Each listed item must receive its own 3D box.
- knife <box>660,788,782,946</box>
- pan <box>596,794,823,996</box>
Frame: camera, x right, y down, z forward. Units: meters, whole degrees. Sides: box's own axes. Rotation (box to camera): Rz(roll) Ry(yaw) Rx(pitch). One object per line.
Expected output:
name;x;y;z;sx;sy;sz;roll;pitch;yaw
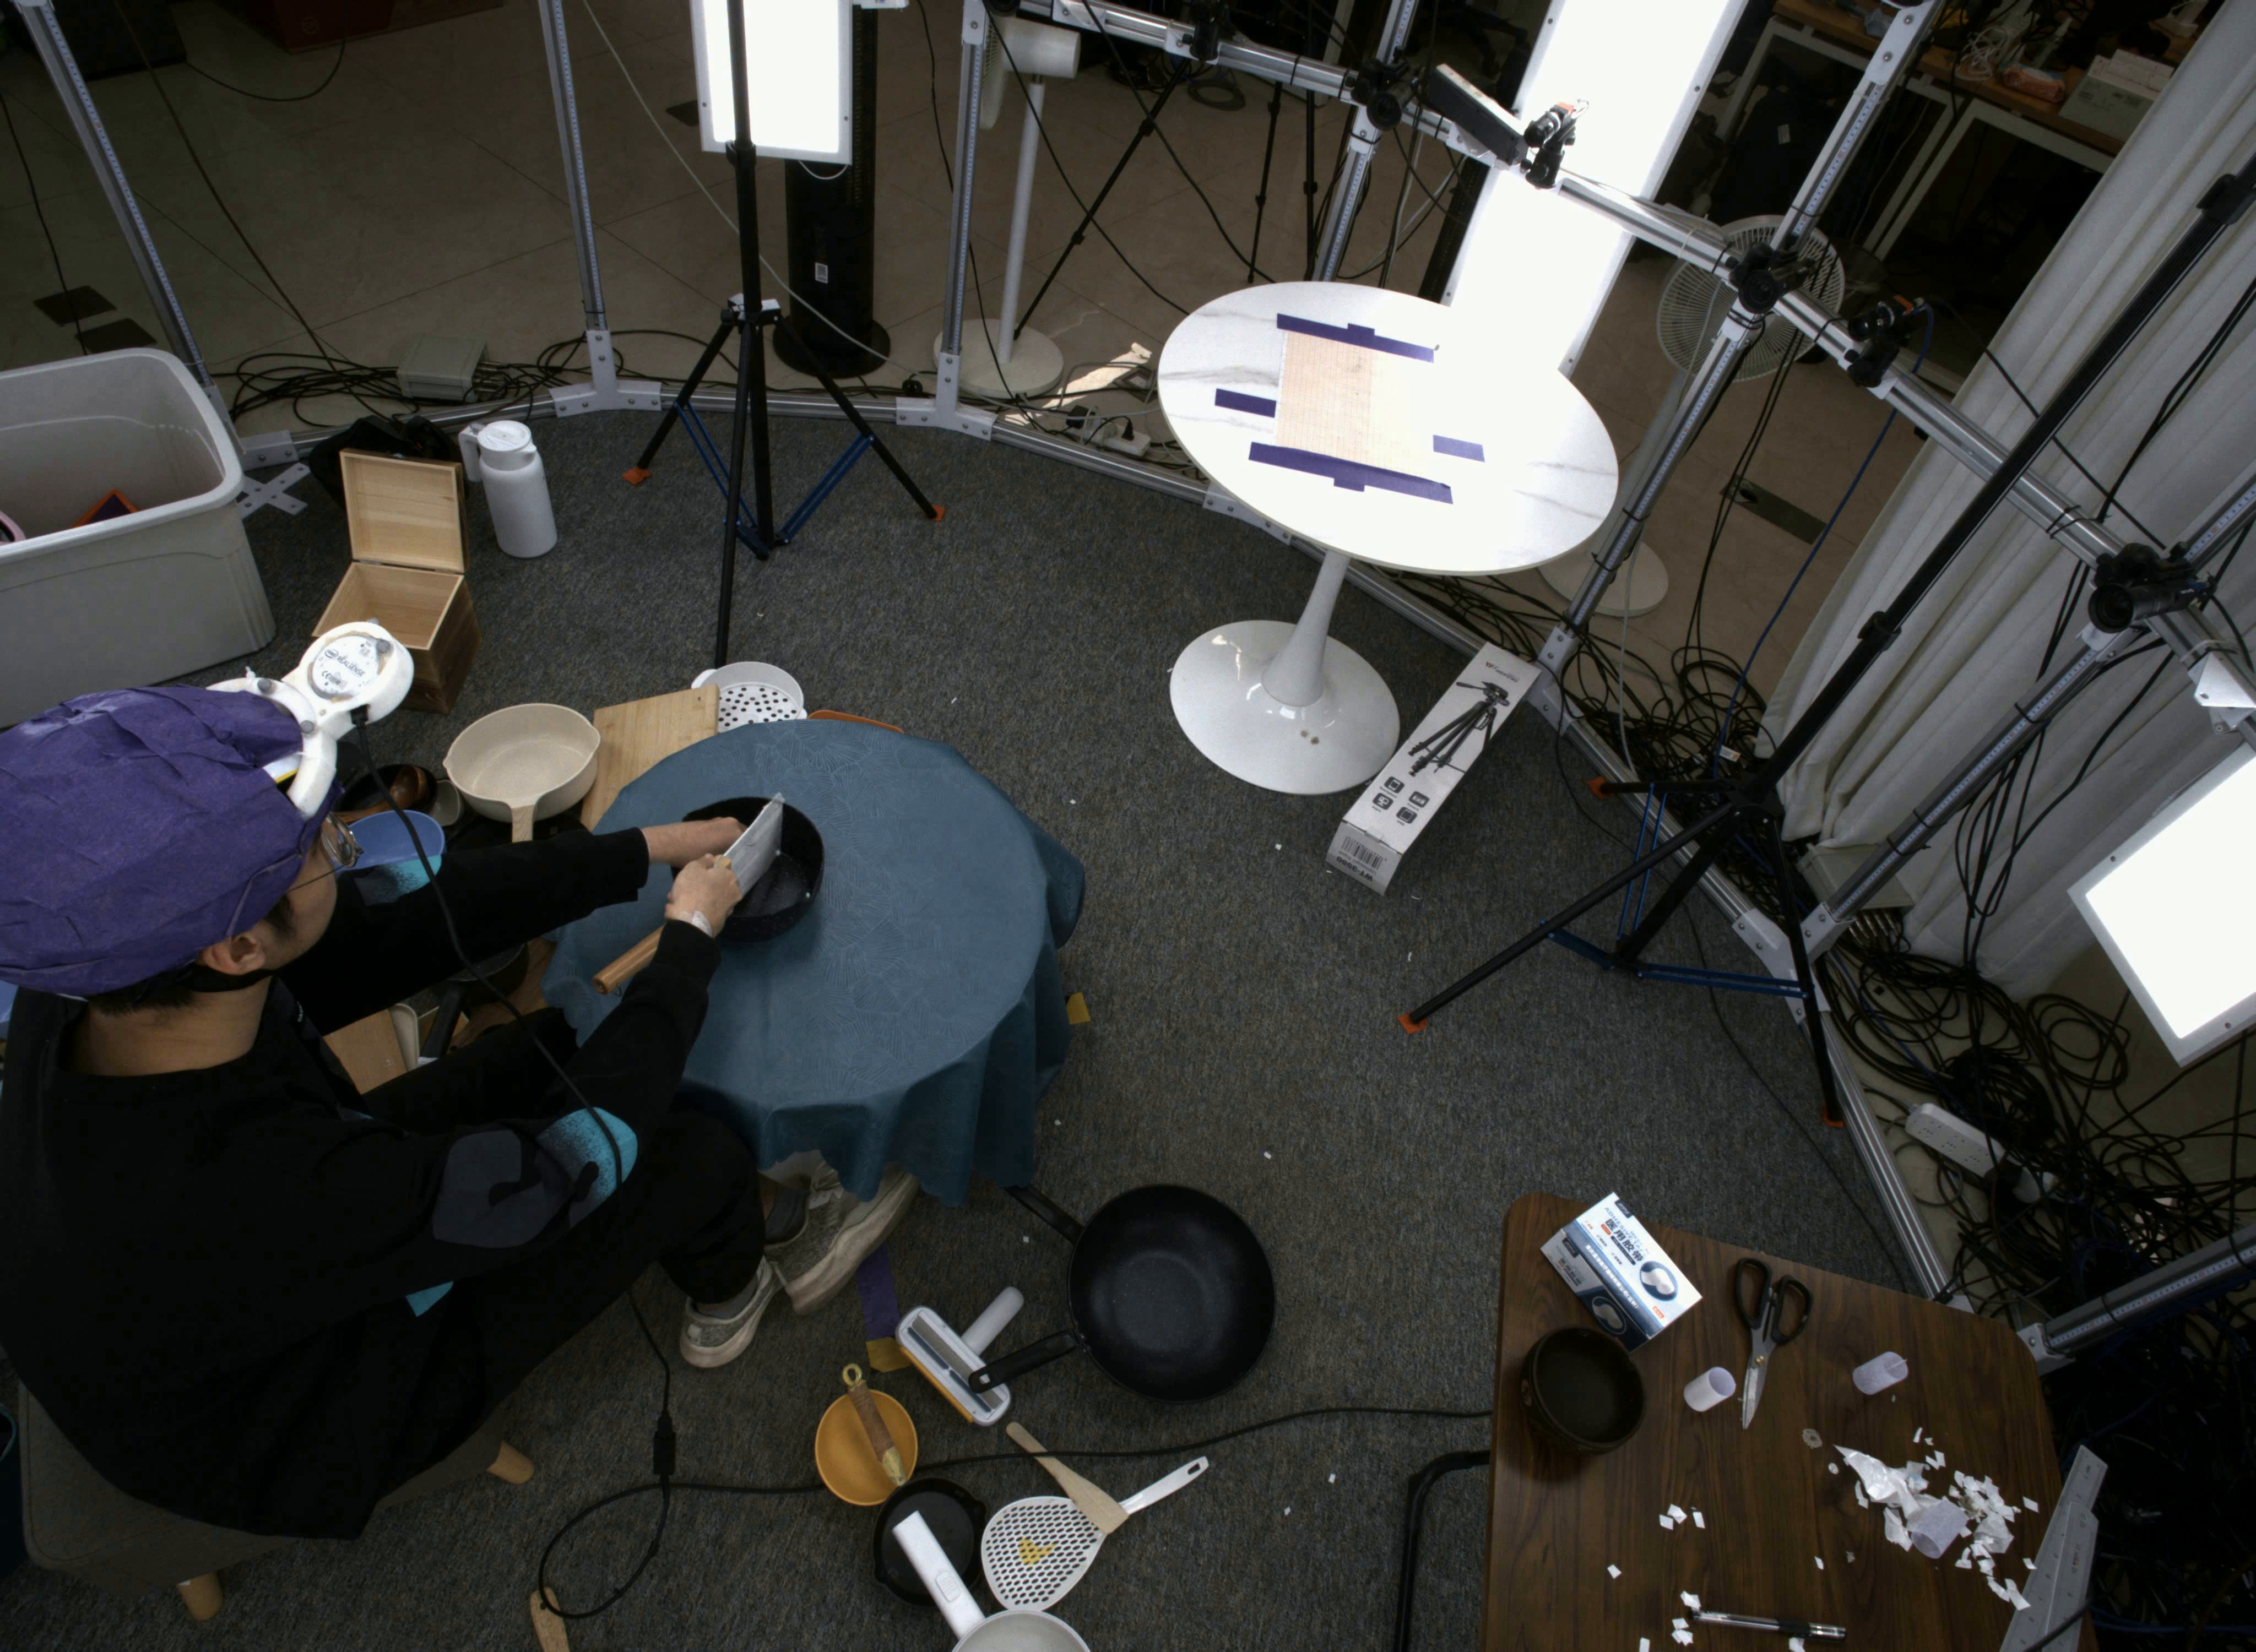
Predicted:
knife;-0.463;0.050;1.499;0.021;0.117;0.312;11;23;4
pan;-0.506;0.101;1.544;0.204;0.110;0.341;30;51;8
